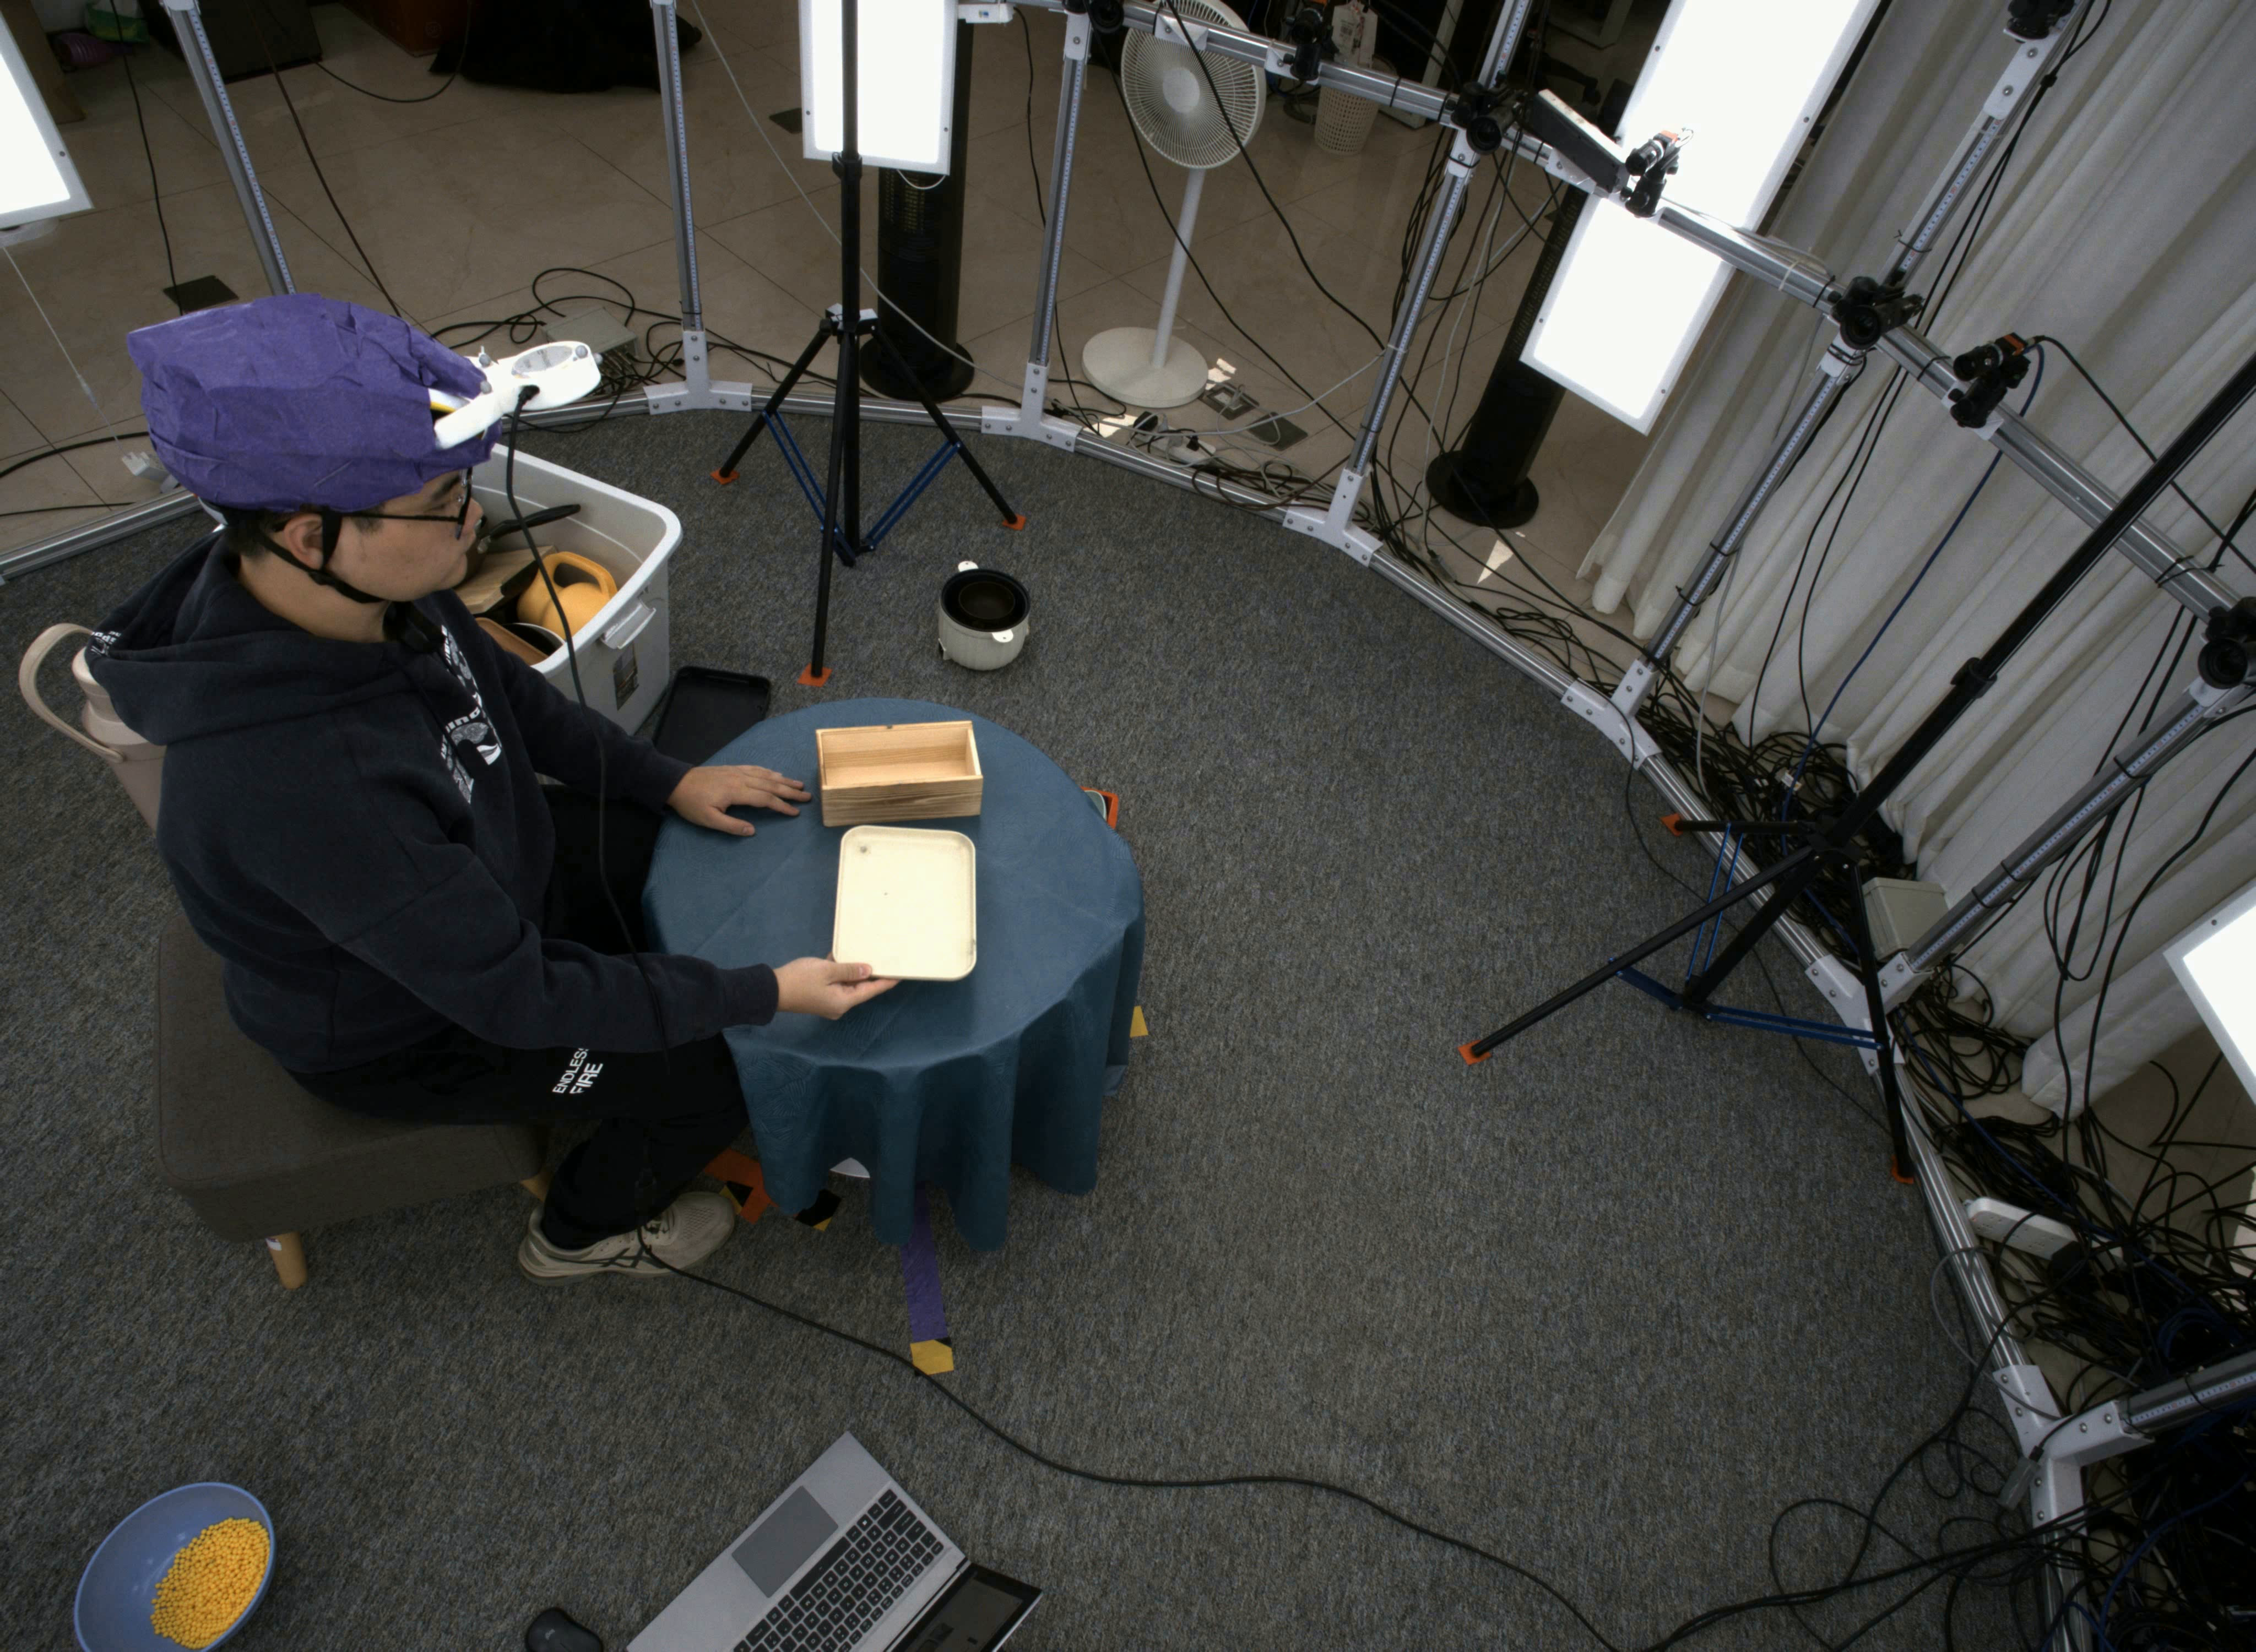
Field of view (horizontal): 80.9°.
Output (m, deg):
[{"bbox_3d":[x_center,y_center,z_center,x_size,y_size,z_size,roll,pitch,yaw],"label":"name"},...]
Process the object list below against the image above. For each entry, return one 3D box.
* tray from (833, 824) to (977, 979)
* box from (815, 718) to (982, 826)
[{"bbox_3d":[-0.272,0.090,1.597,0.171,0.018,0.234,4,47,-13],"label":"tray"},{"bbox_3d":[-0.310,-0.074,1.753,0.212,0.082,0.105,-5,54,-17],"label":"box"}]
